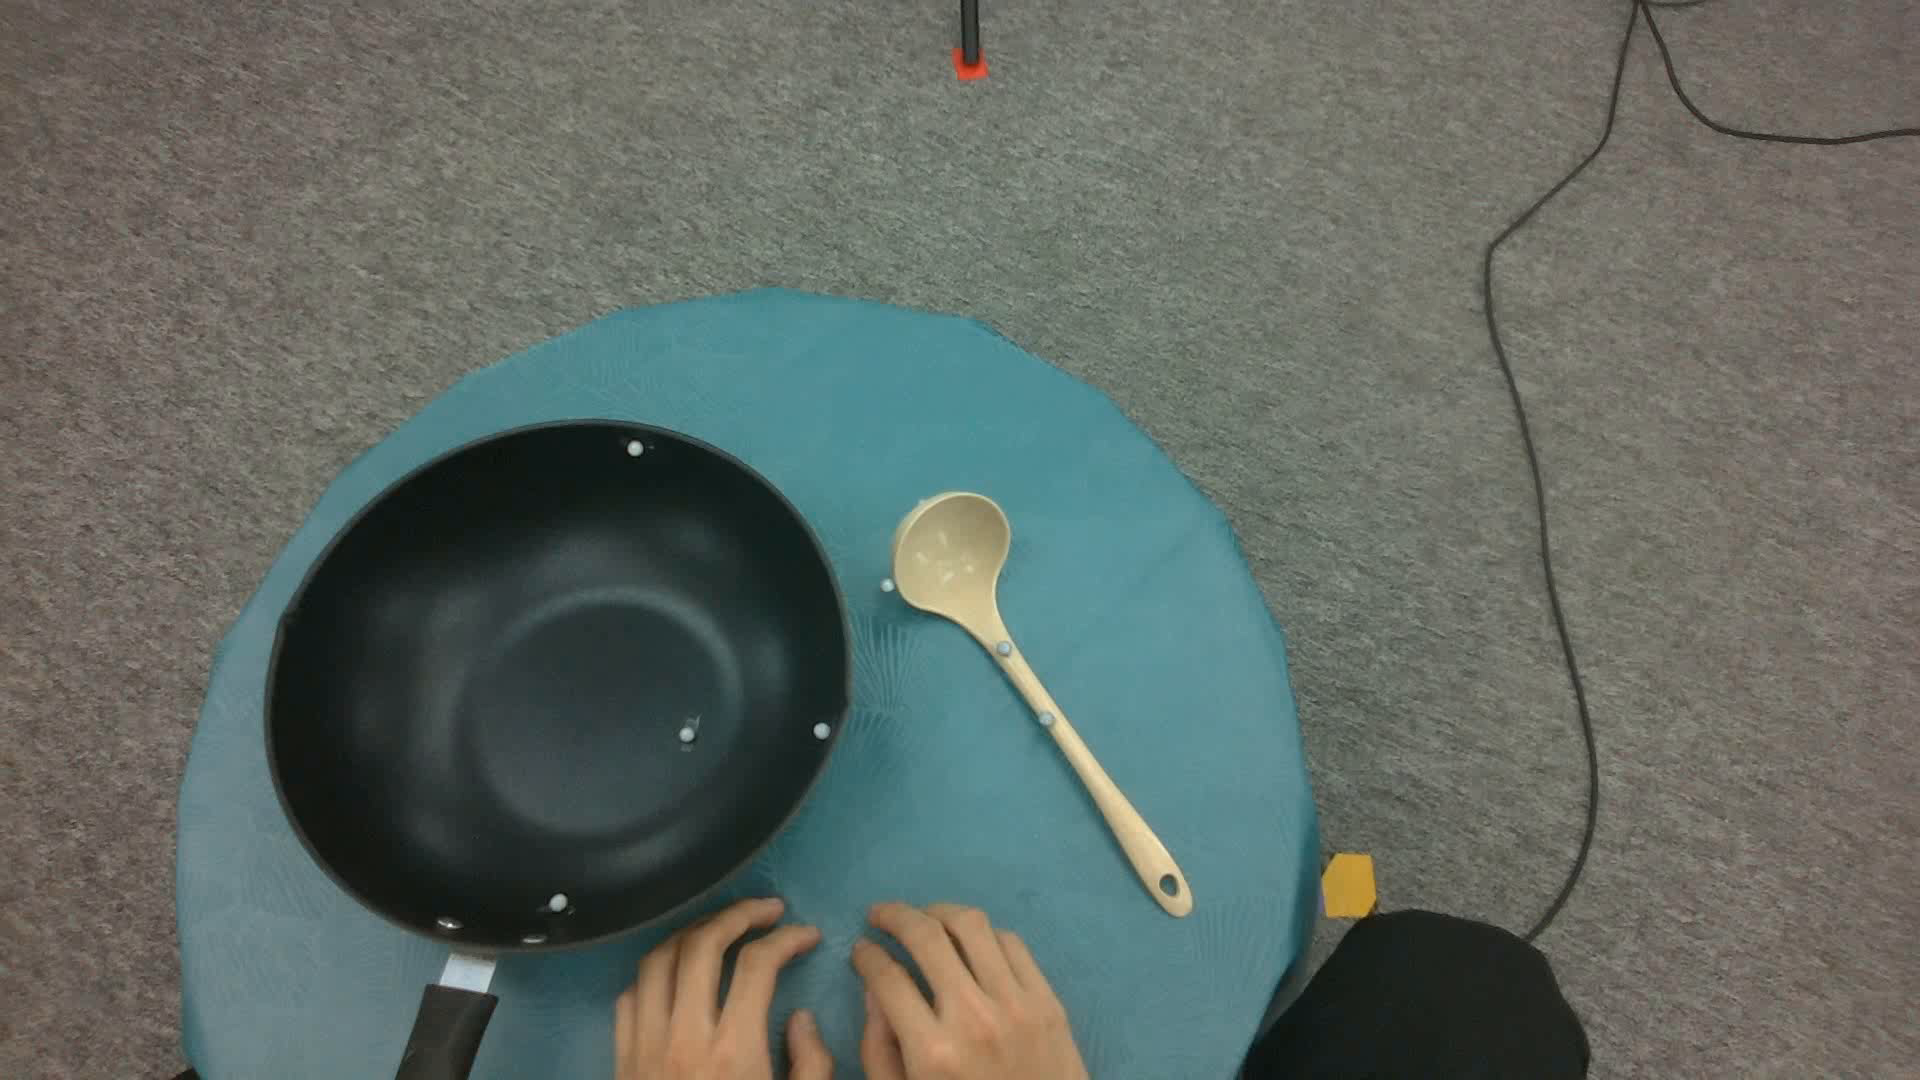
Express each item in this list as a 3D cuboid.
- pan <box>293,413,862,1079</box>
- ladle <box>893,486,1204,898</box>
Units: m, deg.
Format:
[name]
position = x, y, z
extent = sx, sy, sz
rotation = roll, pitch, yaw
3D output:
[pan]
position = -0.208, 0.155, 0.688
extent = 0.288, 0.086, 0.465
rotation = 9, 65, 4
[ladle]
position = 0.054, 0.076, 0.736
extent = 0.072, 0.072, 0.255
rotation = -30, 67, -20
